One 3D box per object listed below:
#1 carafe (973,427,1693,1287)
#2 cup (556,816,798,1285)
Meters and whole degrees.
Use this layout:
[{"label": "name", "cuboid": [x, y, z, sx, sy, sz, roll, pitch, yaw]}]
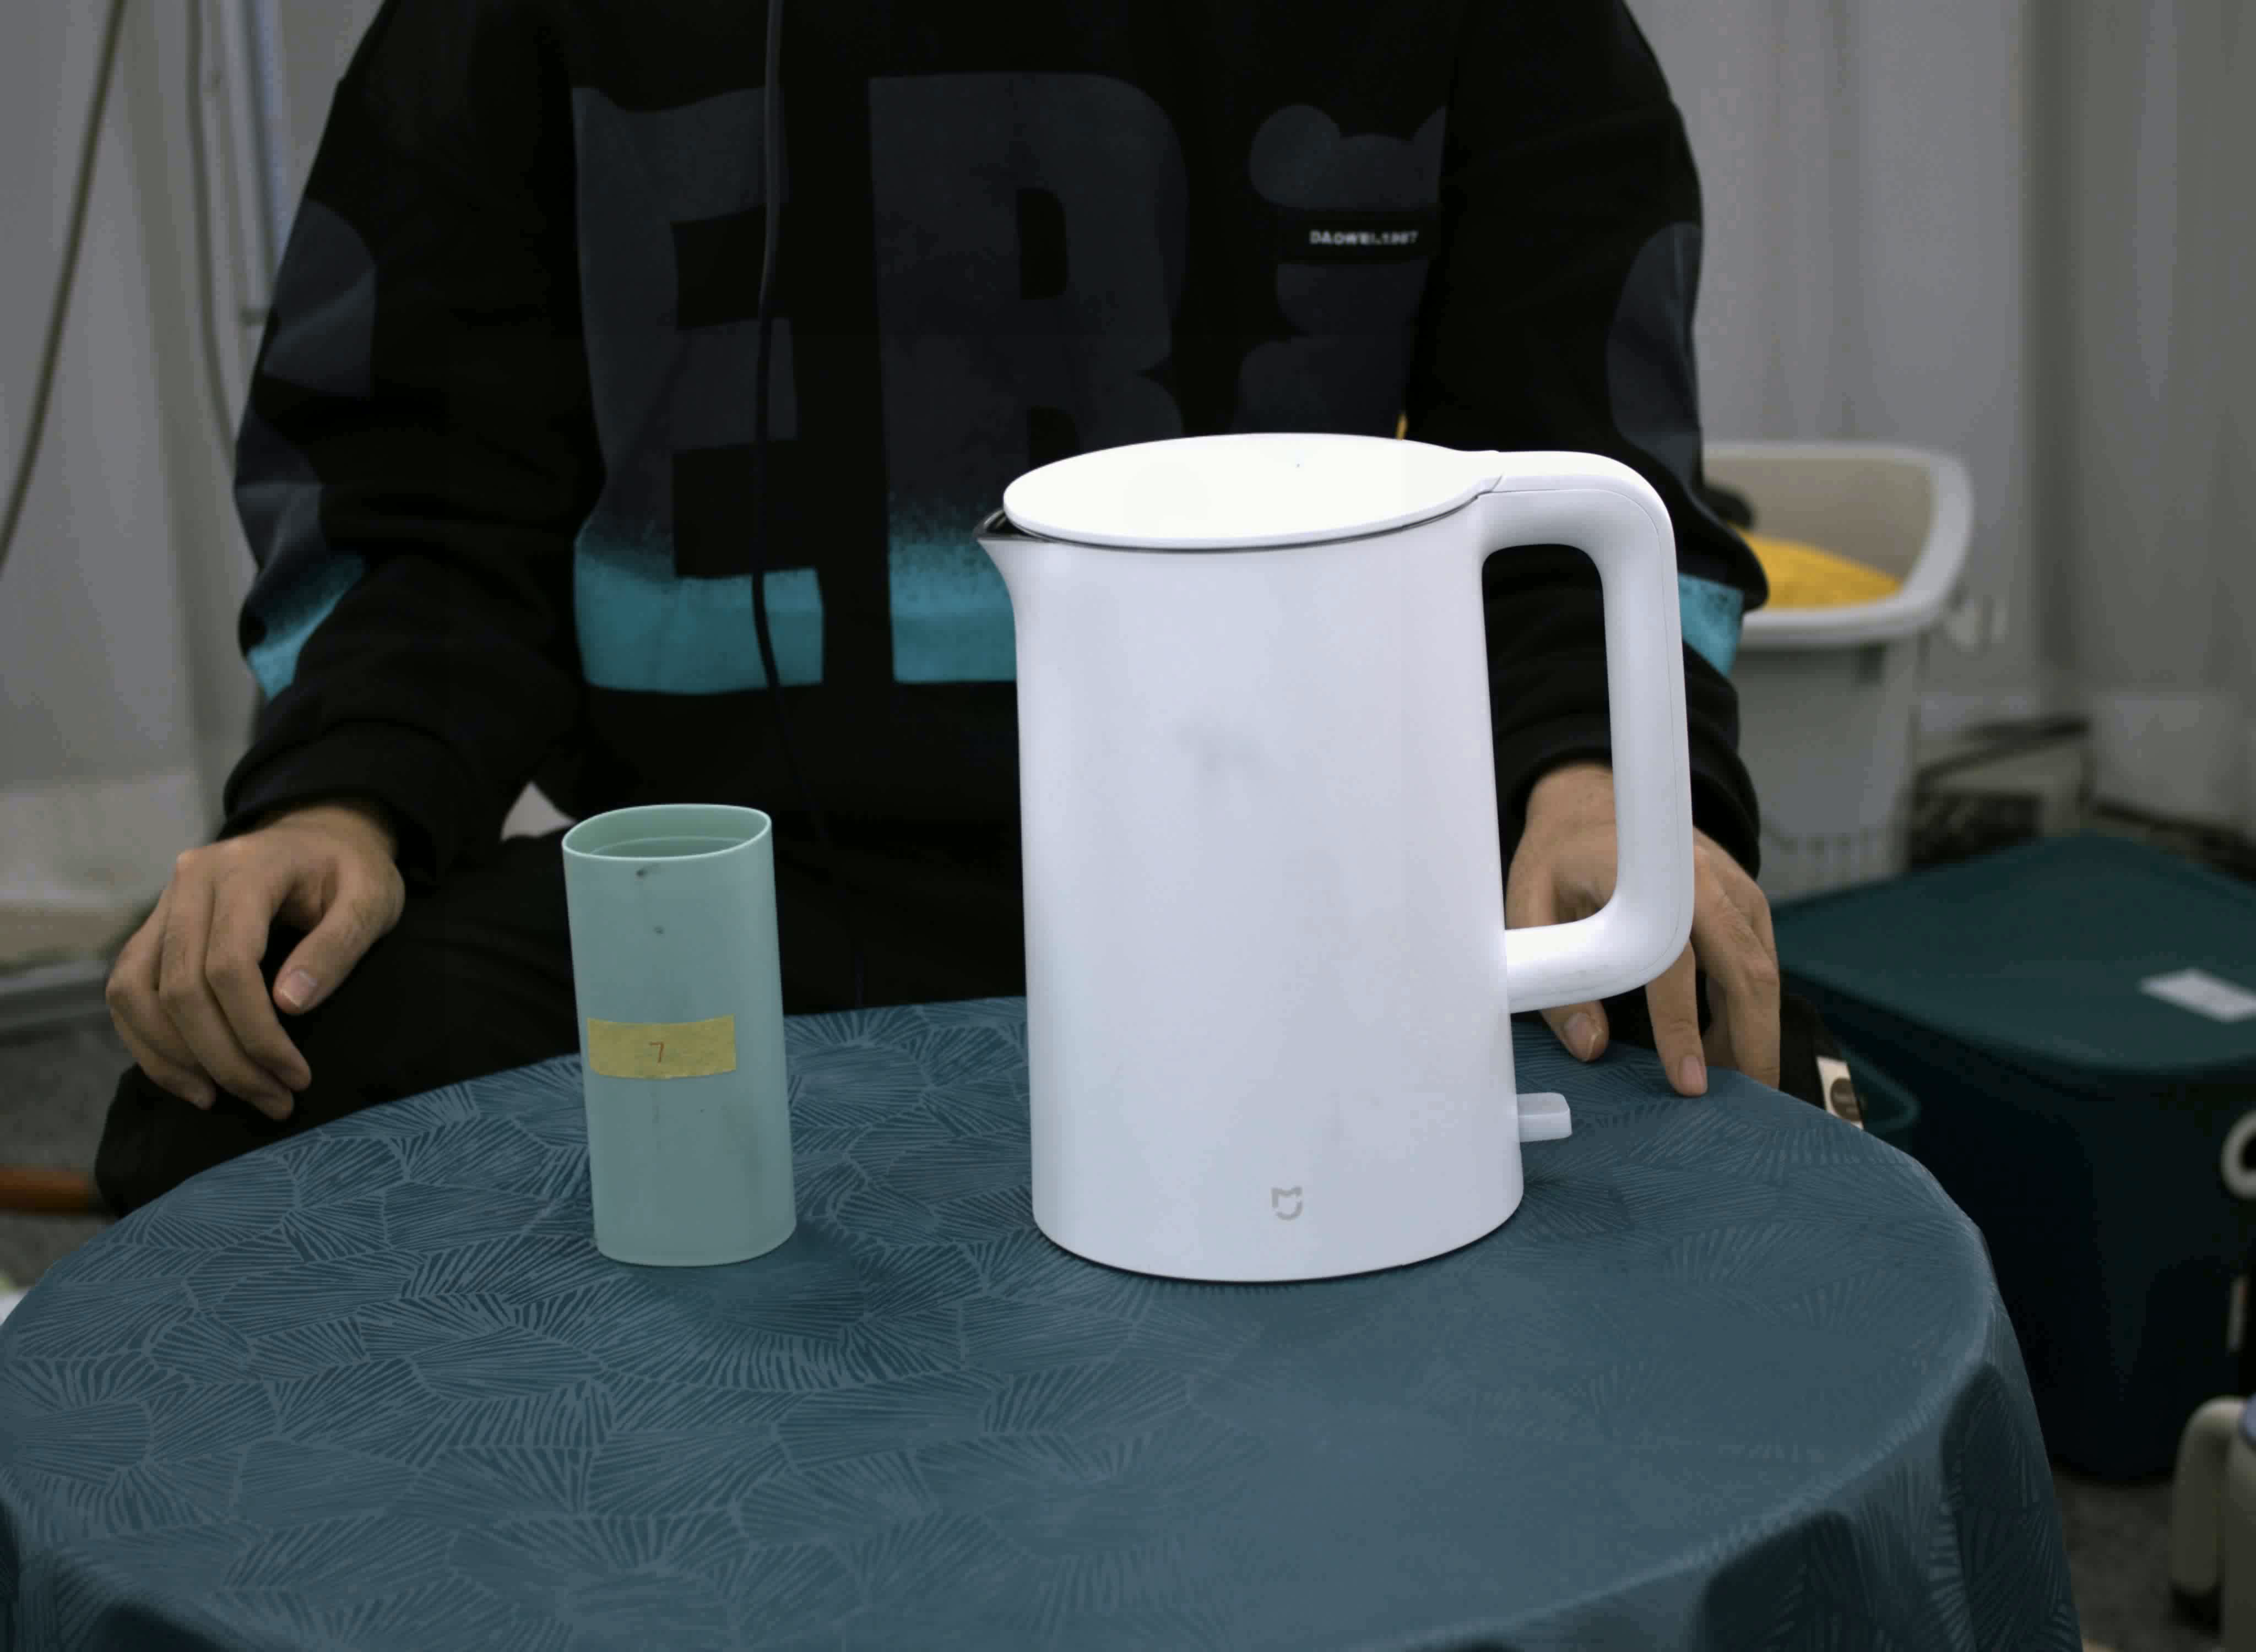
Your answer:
[{"label": "carafe", "cuboid": [0.066, 0.005, 1.666, 0.212, 0.239, 0.153, -4, 15, -2]}, {"label": "cup", "cuboid": [-0.137, 0.068, 1.679, 0.066, 0.132, 0.067, -4, 15, 1]}]
